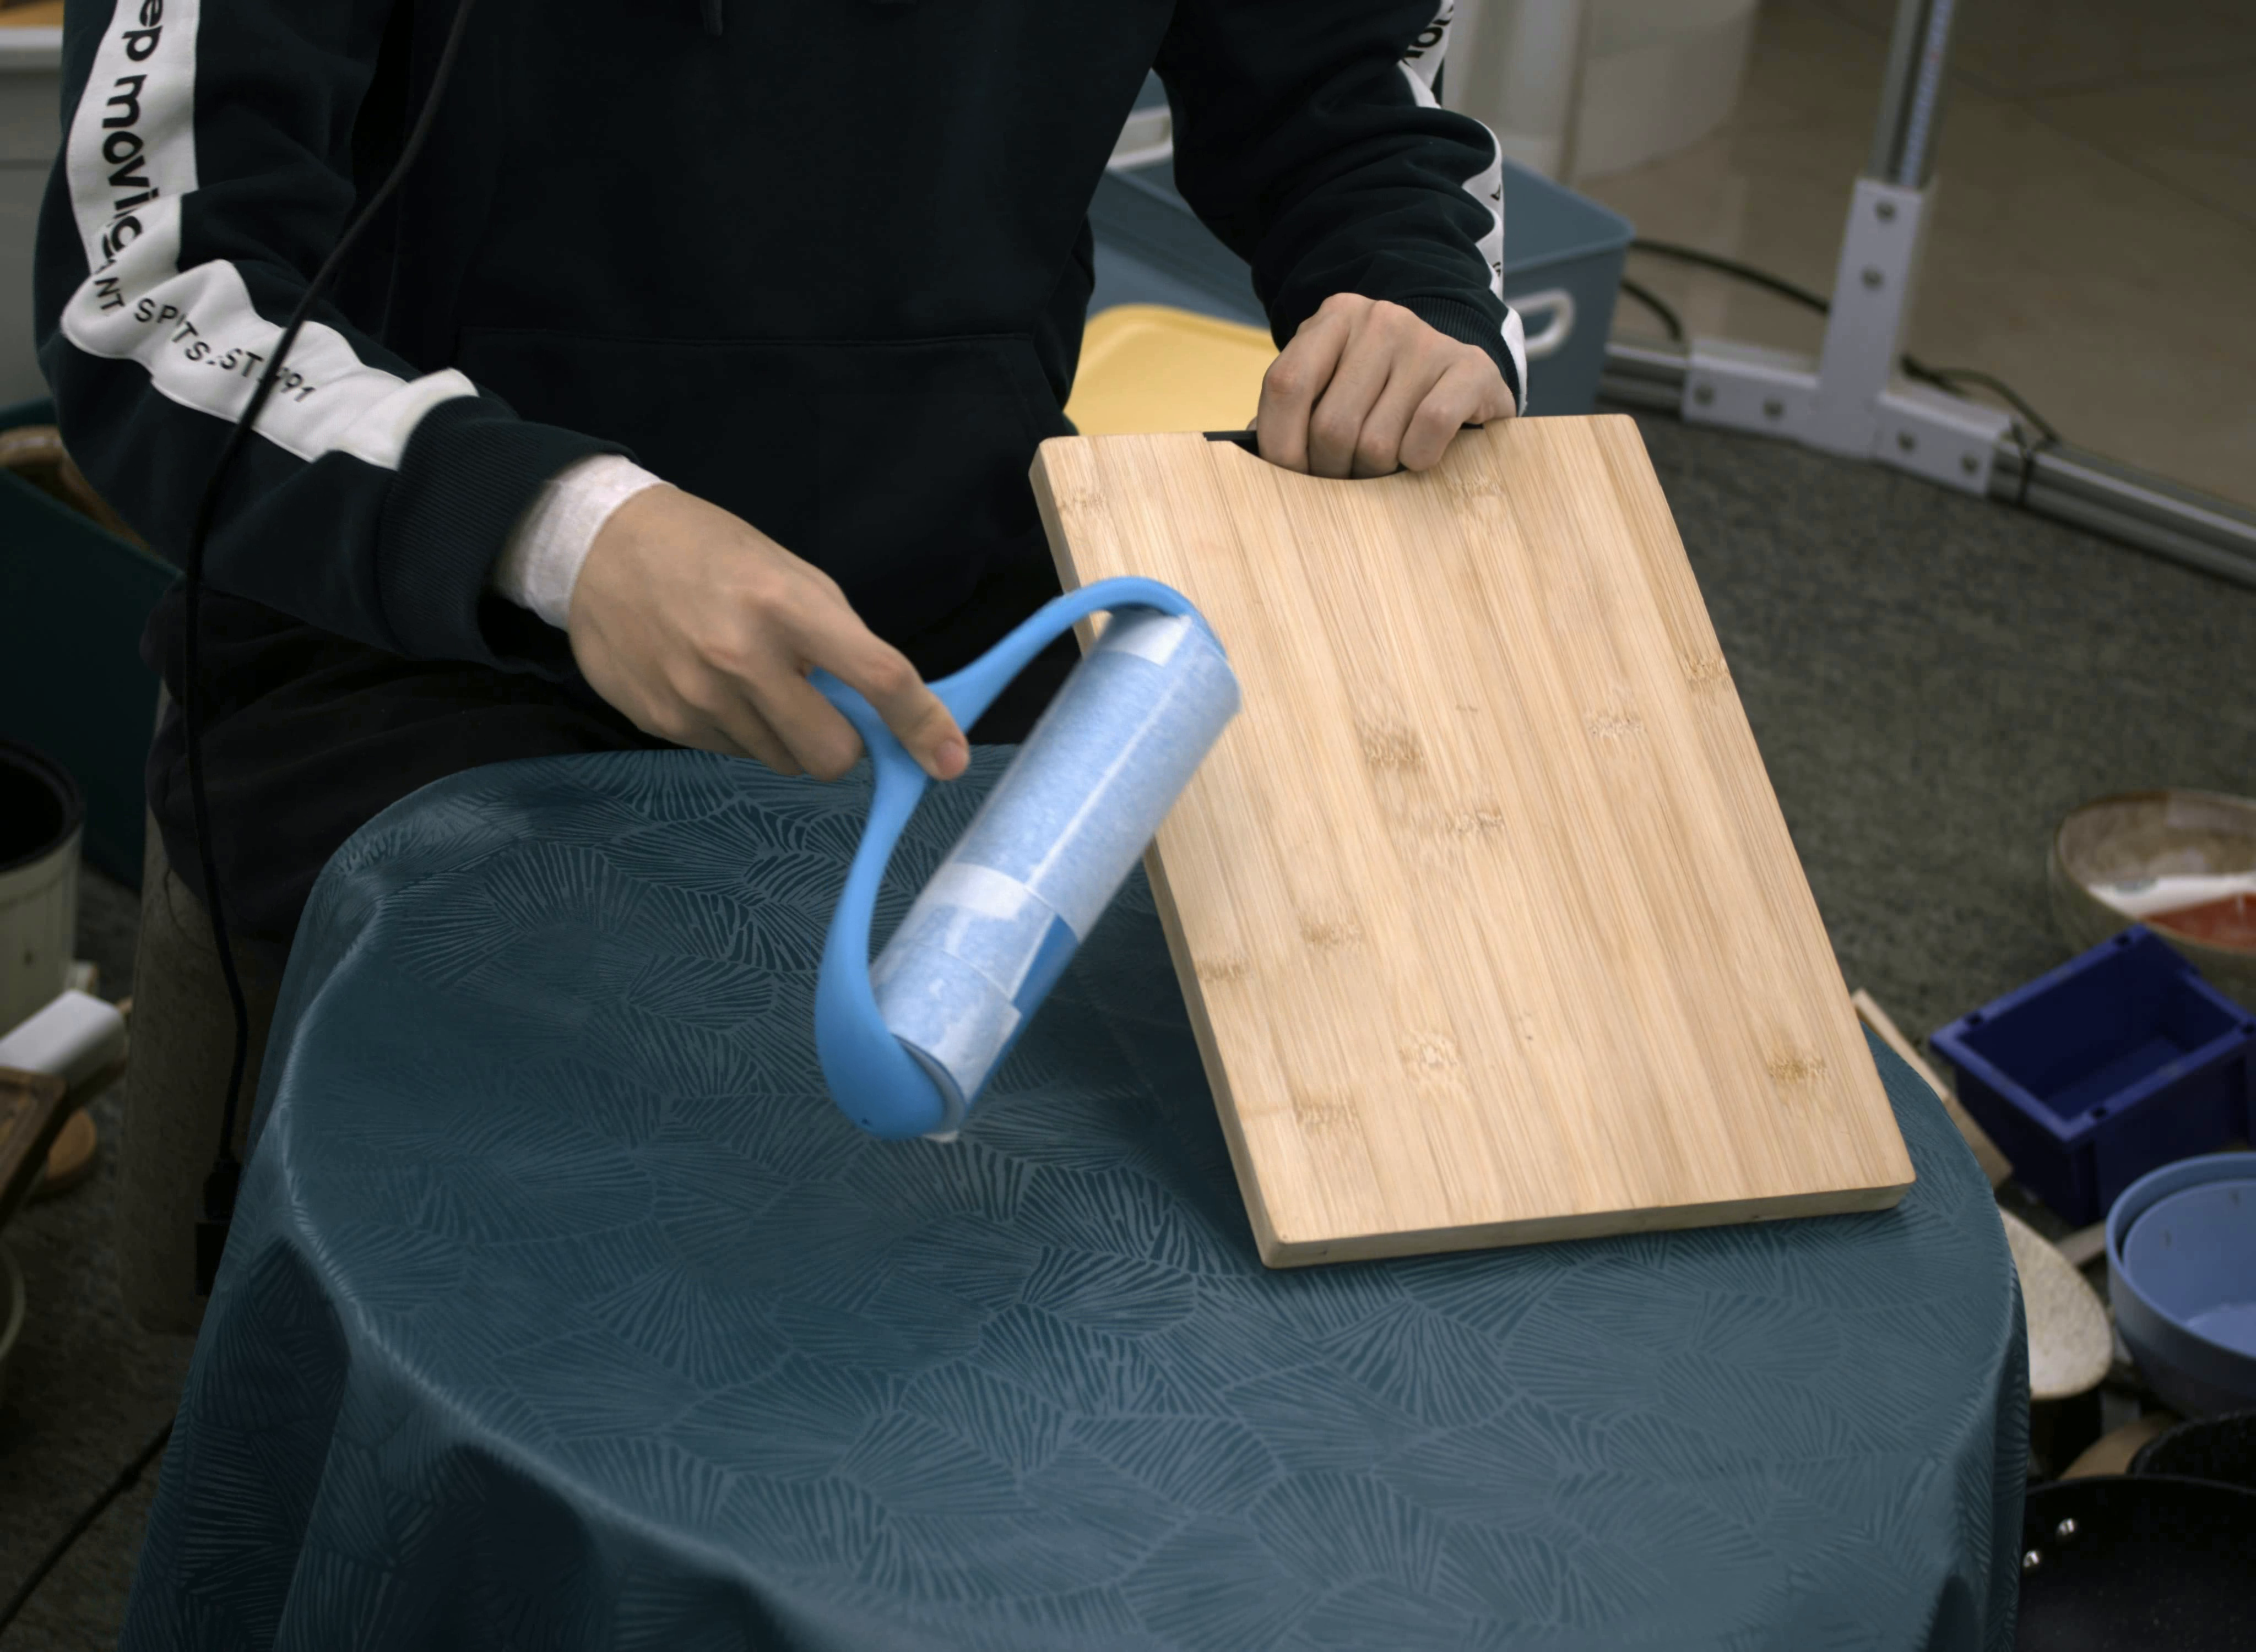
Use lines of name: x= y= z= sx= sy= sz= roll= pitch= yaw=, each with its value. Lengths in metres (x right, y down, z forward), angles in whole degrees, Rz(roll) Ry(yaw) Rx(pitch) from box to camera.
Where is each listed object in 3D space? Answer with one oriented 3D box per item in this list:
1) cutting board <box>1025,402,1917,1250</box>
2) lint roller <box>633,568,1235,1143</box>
cutting board: x=0.116 y=-0.007 z=1.889 sx=0.249 sy=0.023 sz=0.352 roll=-4 pitch=56 yaw=-20
lint roller: x=-0.081 y=-0.019 z=1.755 sx=0.180 sy=0.068 sz=0.229 roll=30 pitch=60 yaw=-1
